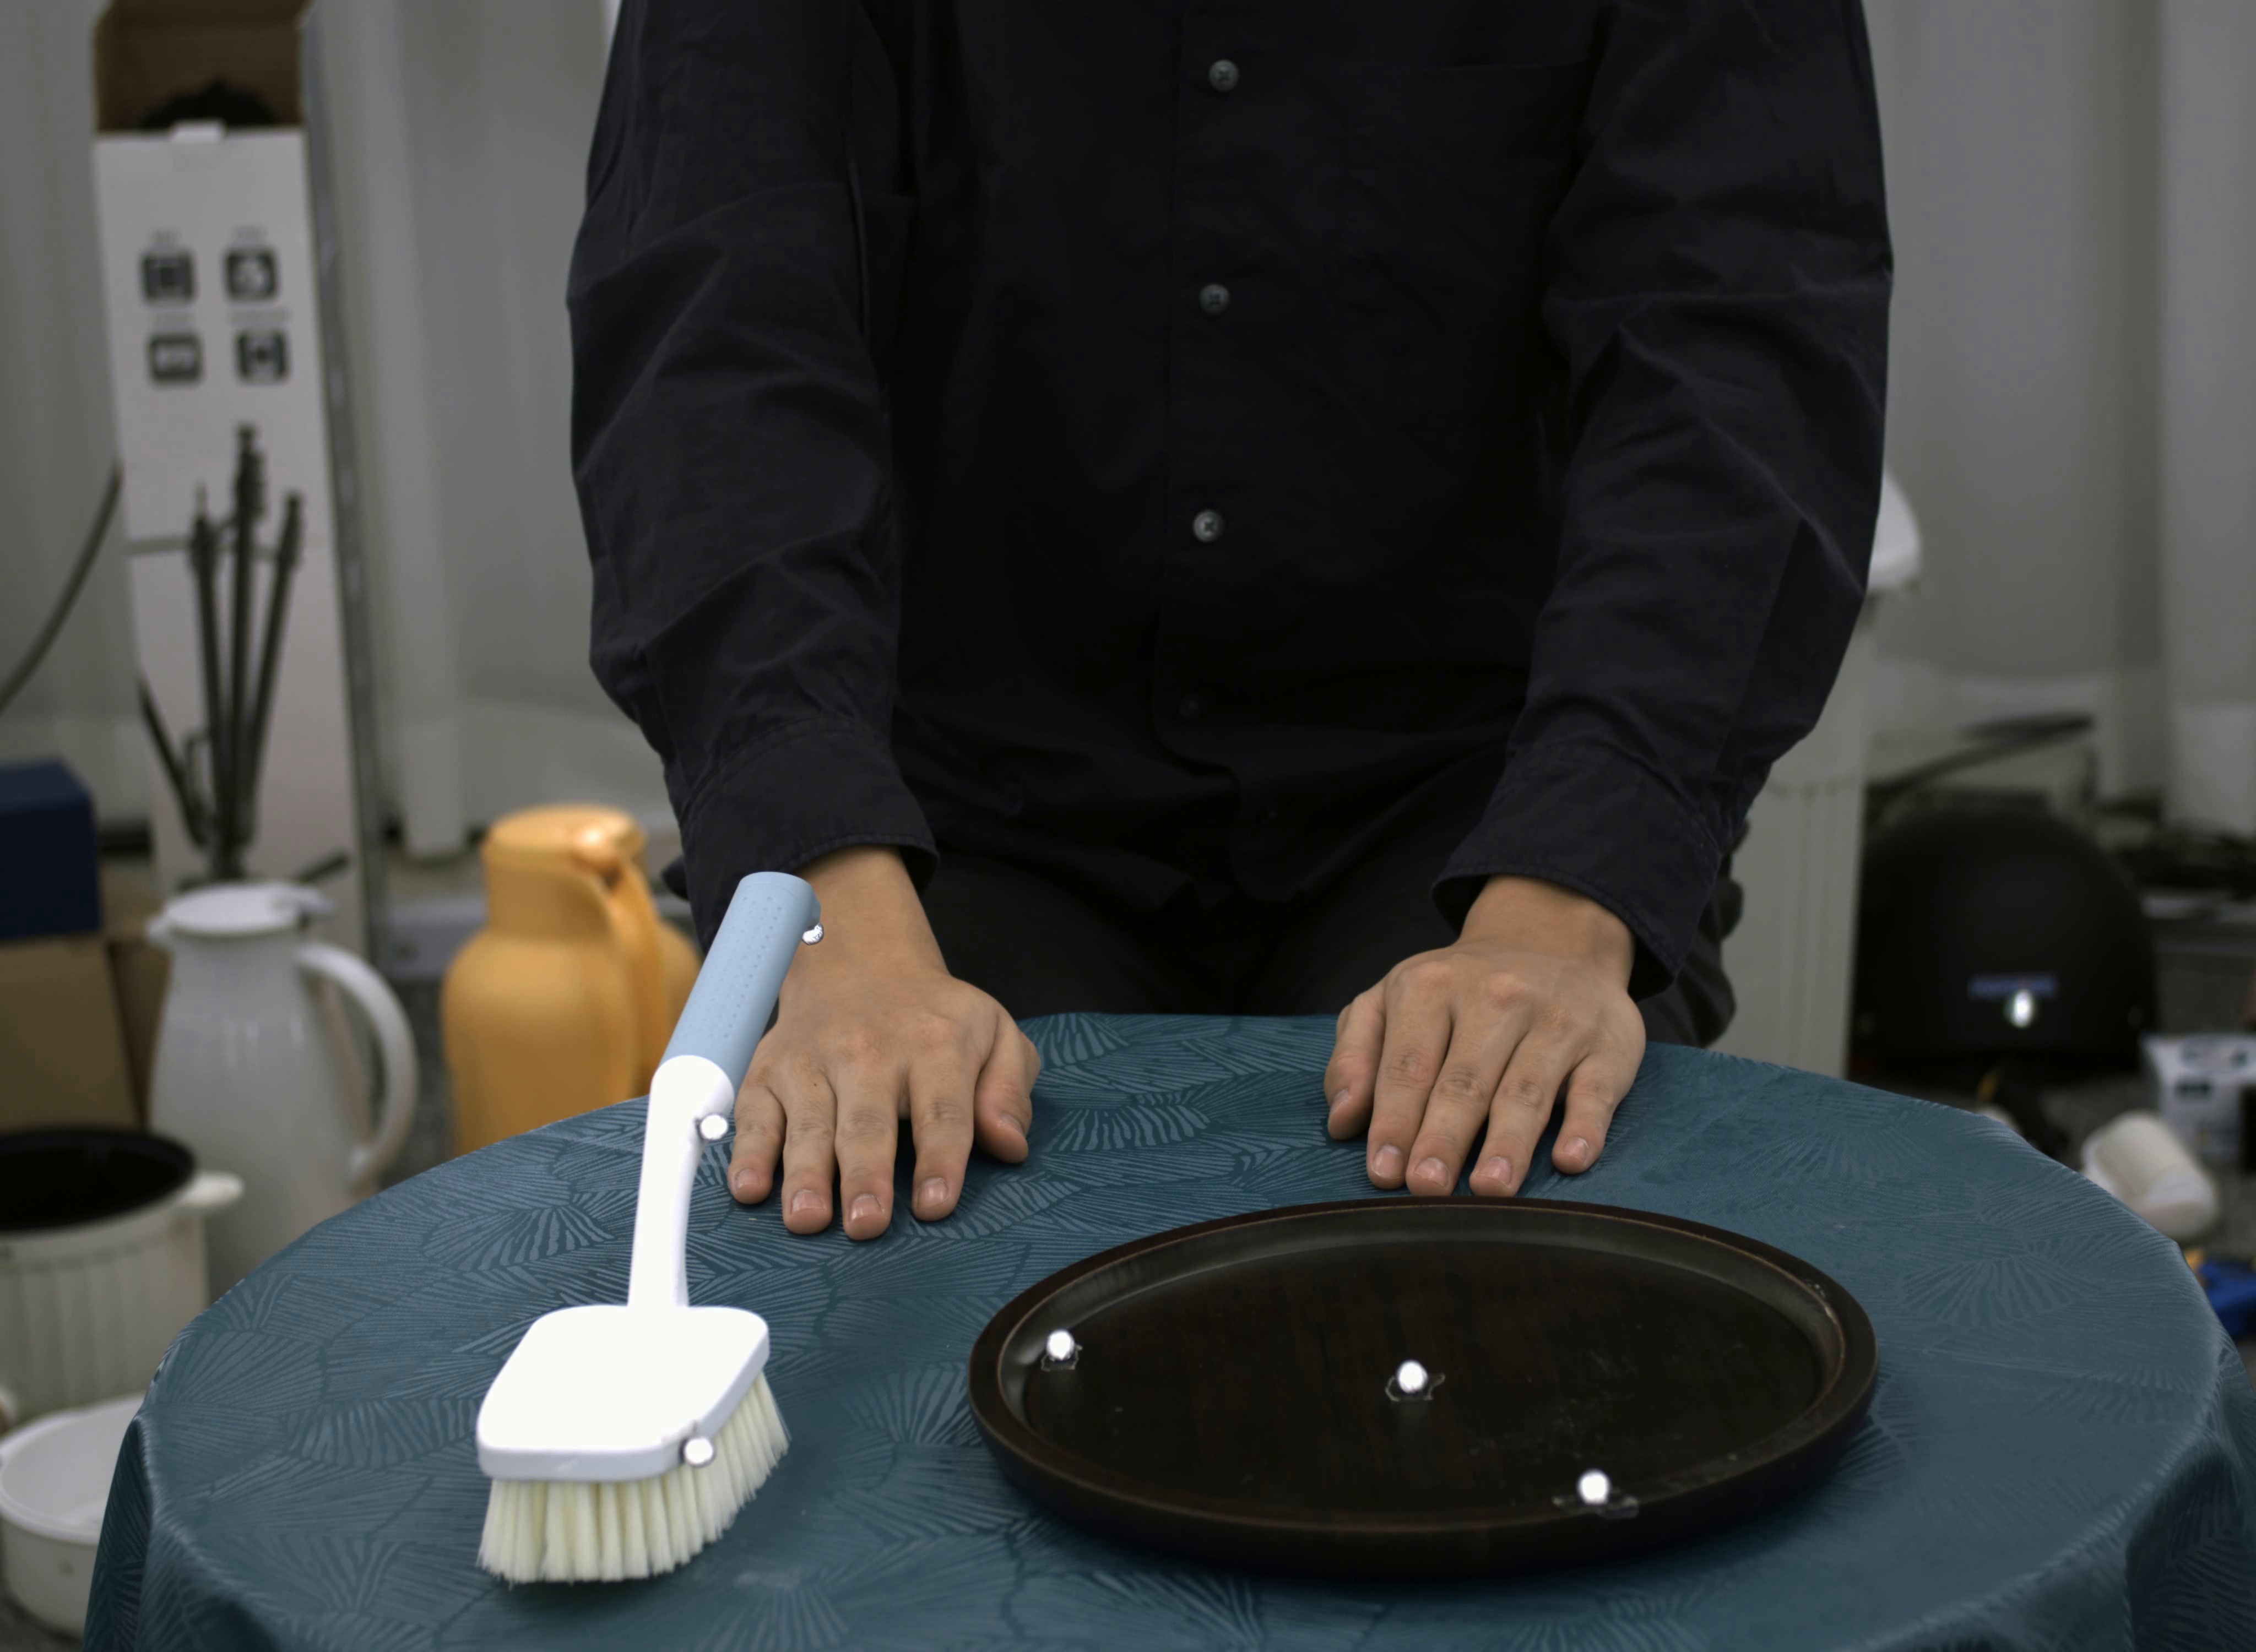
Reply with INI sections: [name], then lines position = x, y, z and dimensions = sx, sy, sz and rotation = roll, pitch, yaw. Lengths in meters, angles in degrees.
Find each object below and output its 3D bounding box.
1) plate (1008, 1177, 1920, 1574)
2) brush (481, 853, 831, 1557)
[plate]
position = 0.094, 0.150, 1.519
dimensions = 0.254, 0.029, 0.256
rotation = -5, 16, 1
[brush]
position = -0.119, 0.119, 1.565
dimensions = 0.083, 0.084, 0.329
rotation = 33, 27, -8
